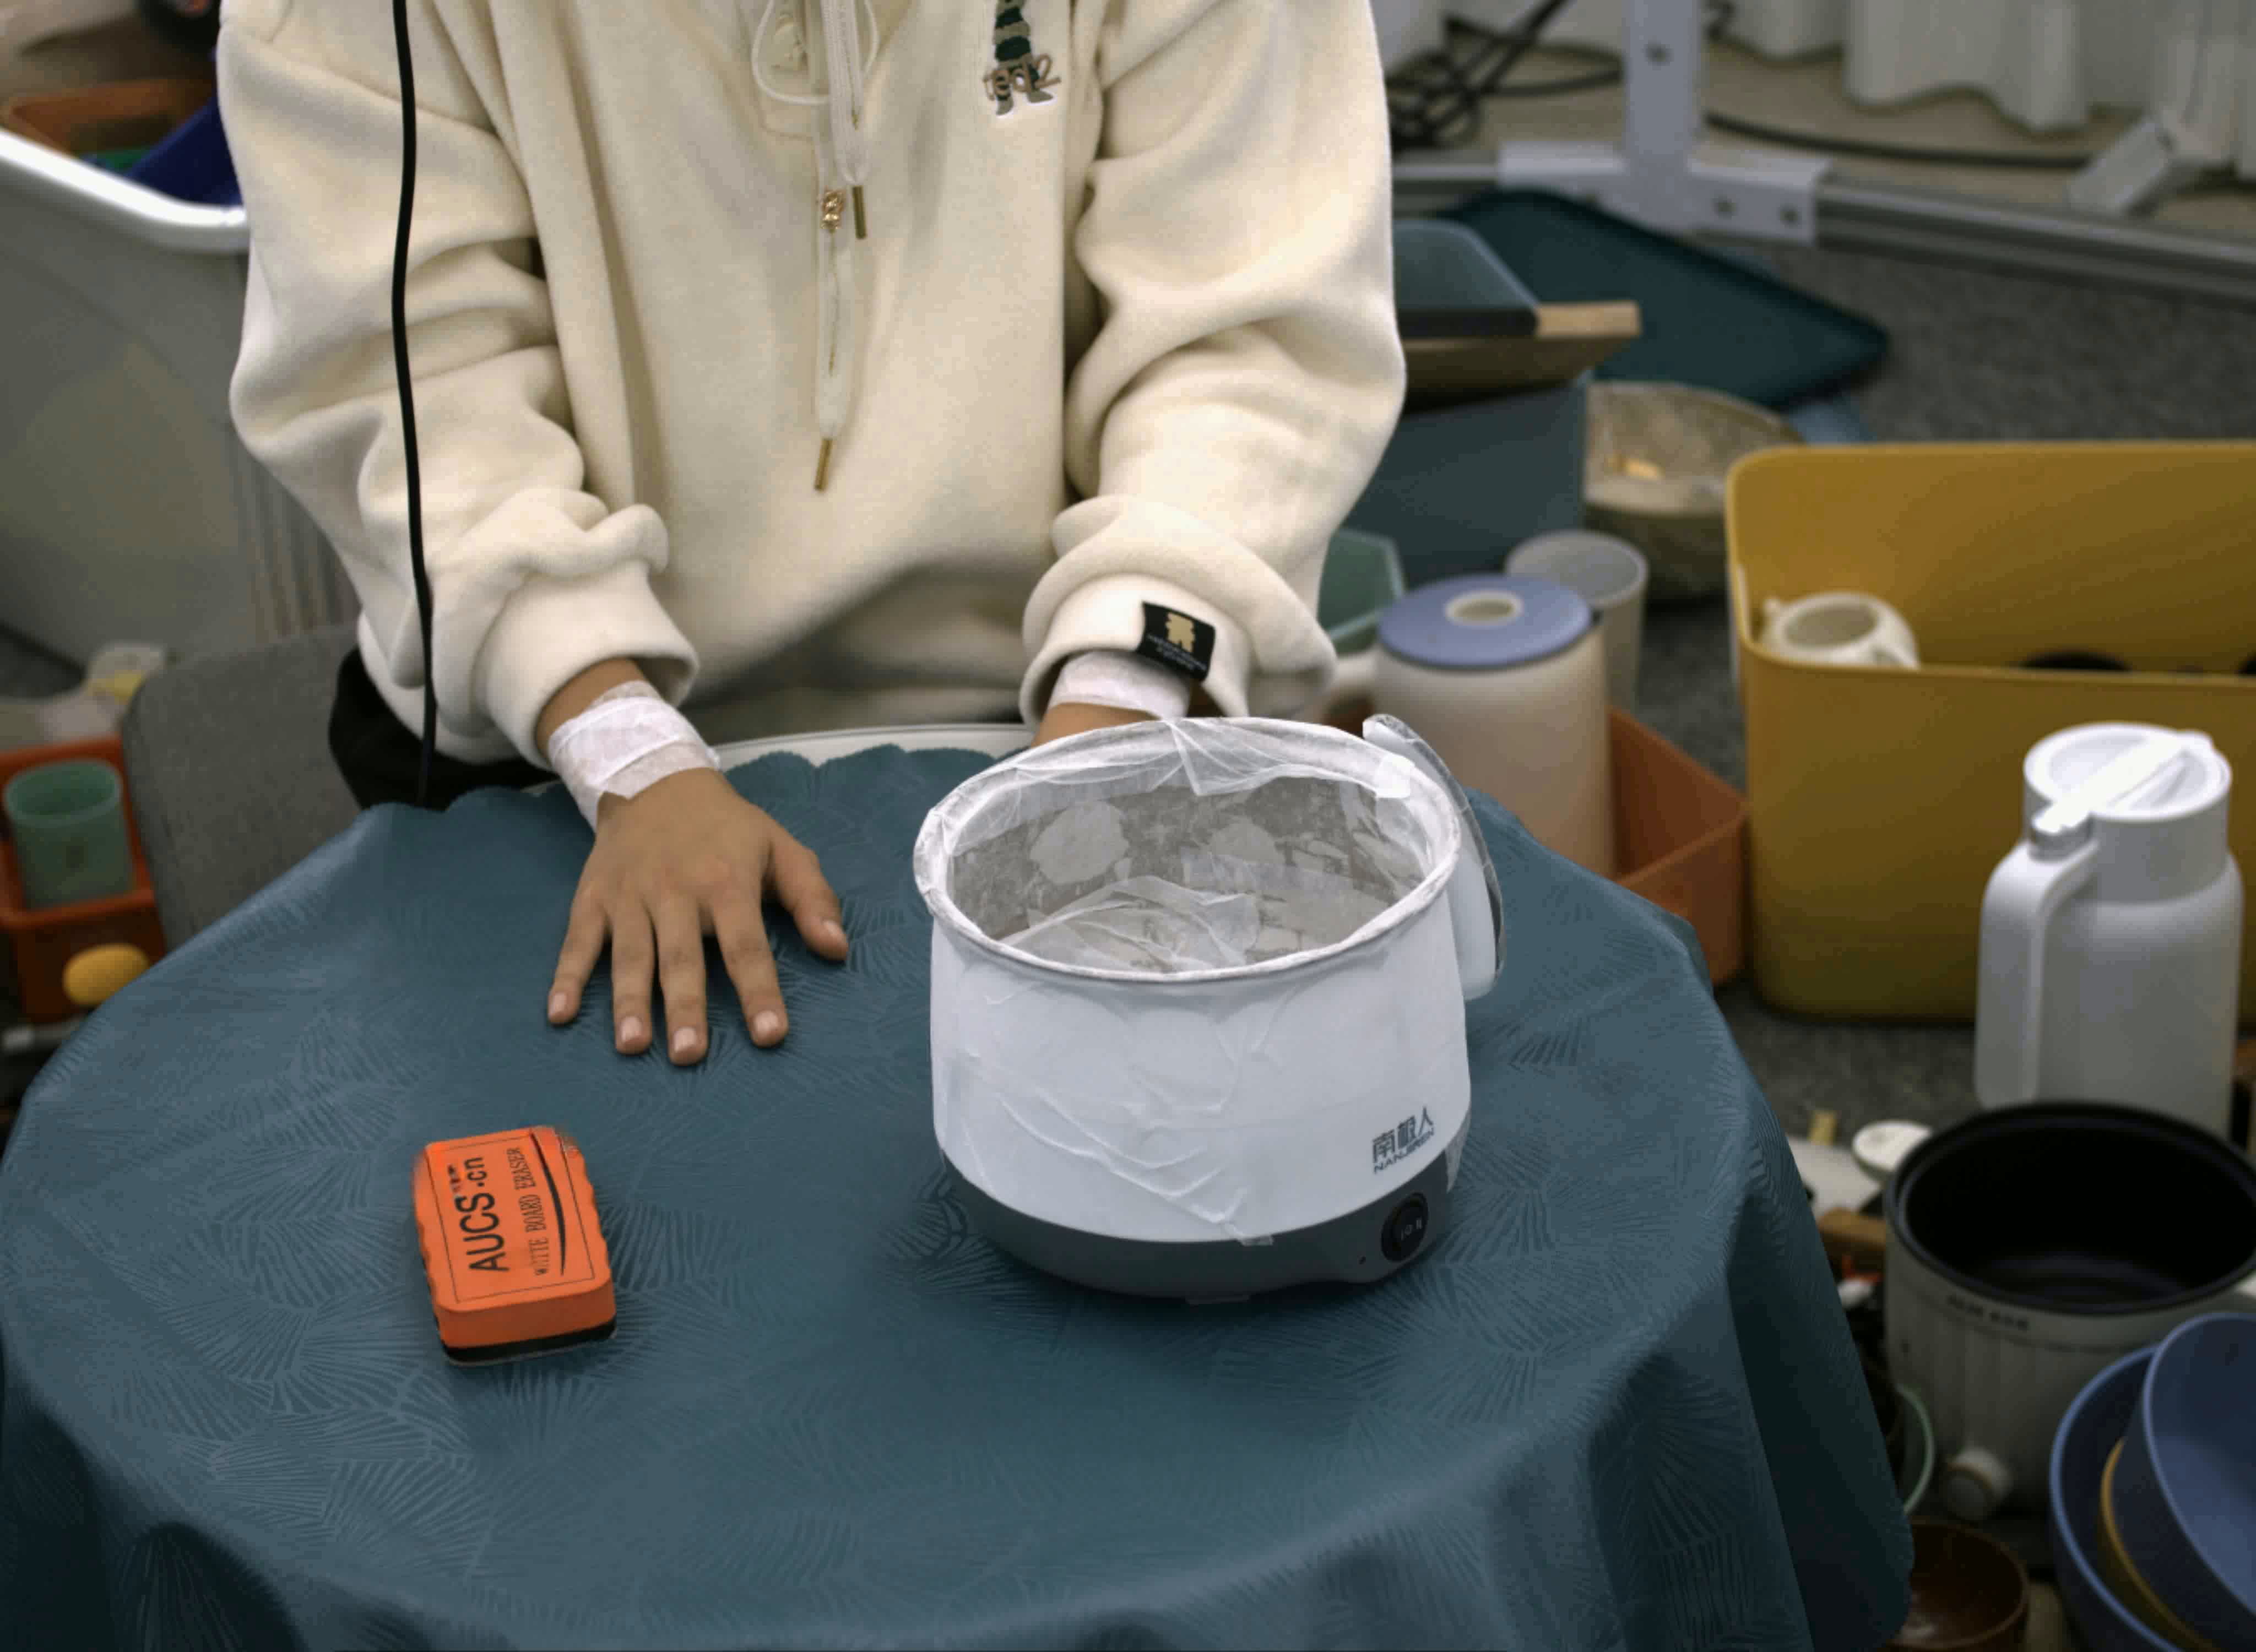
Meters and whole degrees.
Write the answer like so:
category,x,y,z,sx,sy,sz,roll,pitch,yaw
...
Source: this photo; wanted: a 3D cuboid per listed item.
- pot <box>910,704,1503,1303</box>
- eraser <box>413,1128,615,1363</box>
category,x,y,z,sx,sy,sz,roll,pitch,yaw
pot,0.039,0.048,1.847,0.178,0.135,0.237,20,36,35
eraser,-0.201,0.136,1.827,0.059,0.022,0.109,-5,27,-10
